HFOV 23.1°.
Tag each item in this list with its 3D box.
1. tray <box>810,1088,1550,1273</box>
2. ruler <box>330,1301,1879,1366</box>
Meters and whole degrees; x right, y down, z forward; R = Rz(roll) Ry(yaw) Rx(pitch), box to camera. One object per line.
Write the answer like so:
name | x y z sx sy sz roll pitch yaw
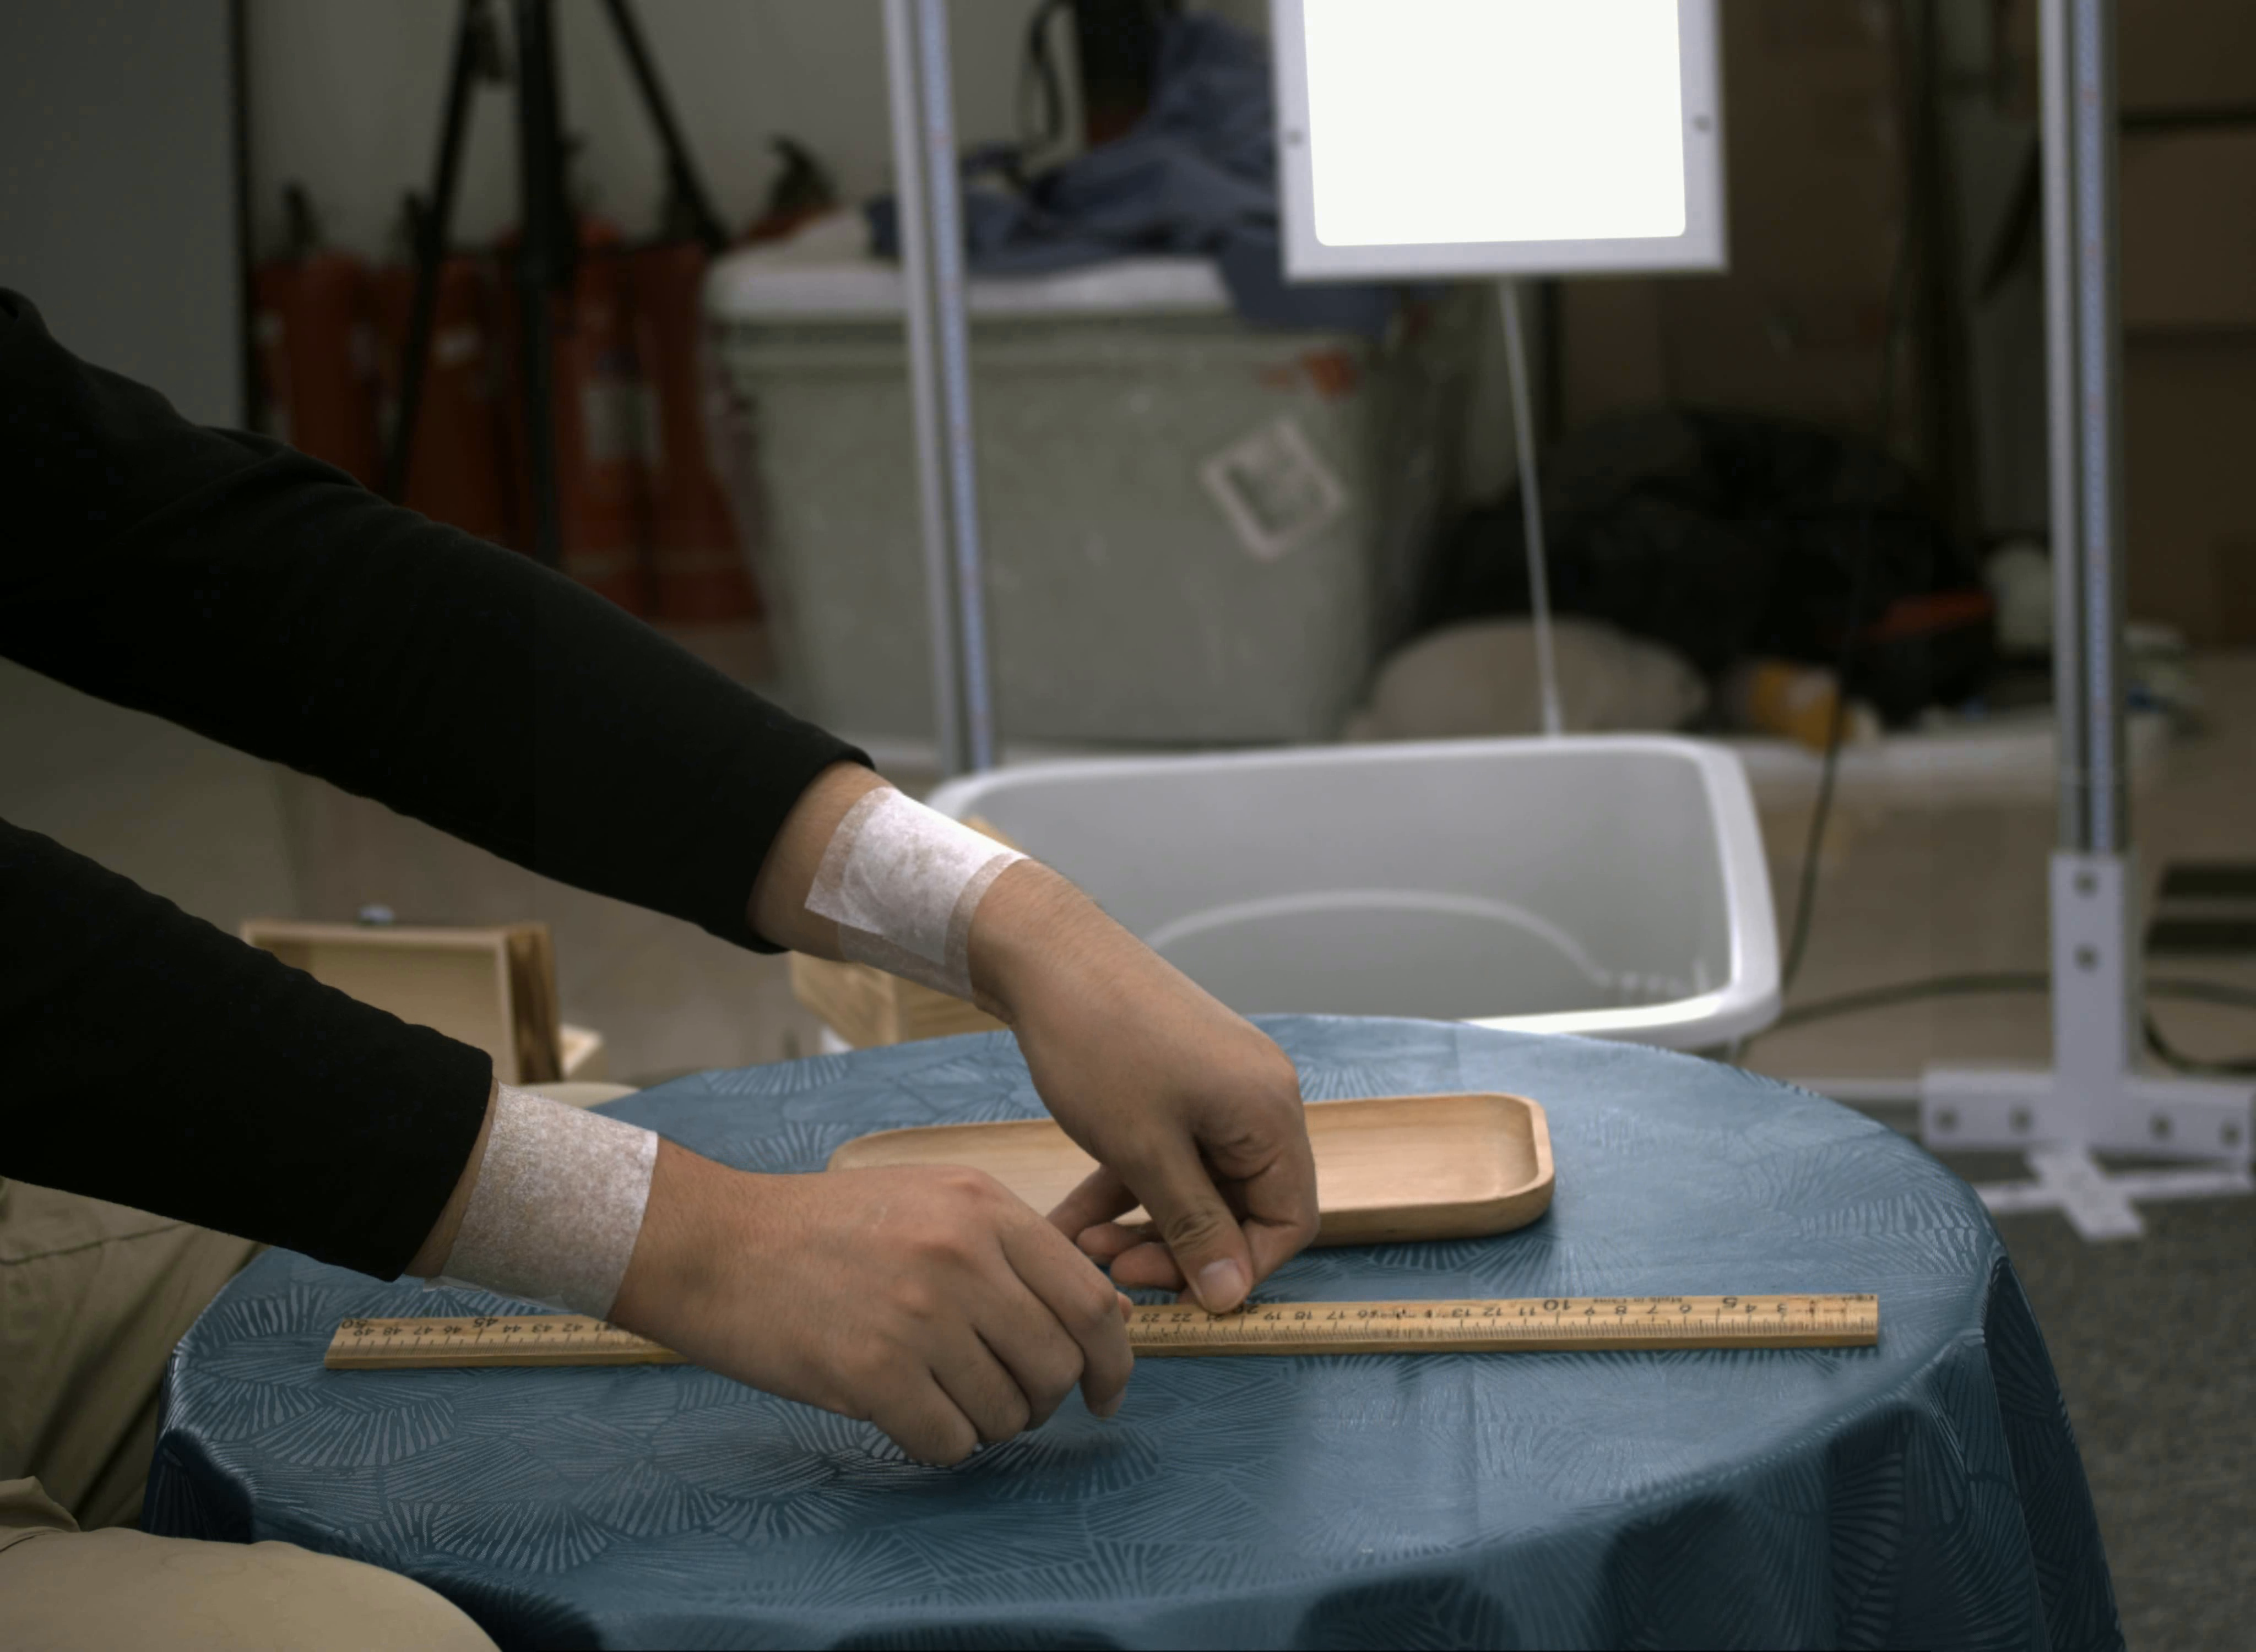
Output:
tray | 0.019 0.121 1.880 0.251 0.023 0.130 -5 11 6
ruler | -0.013 0.160 1.745 0.504 0.006 0.026 -2 24 14
